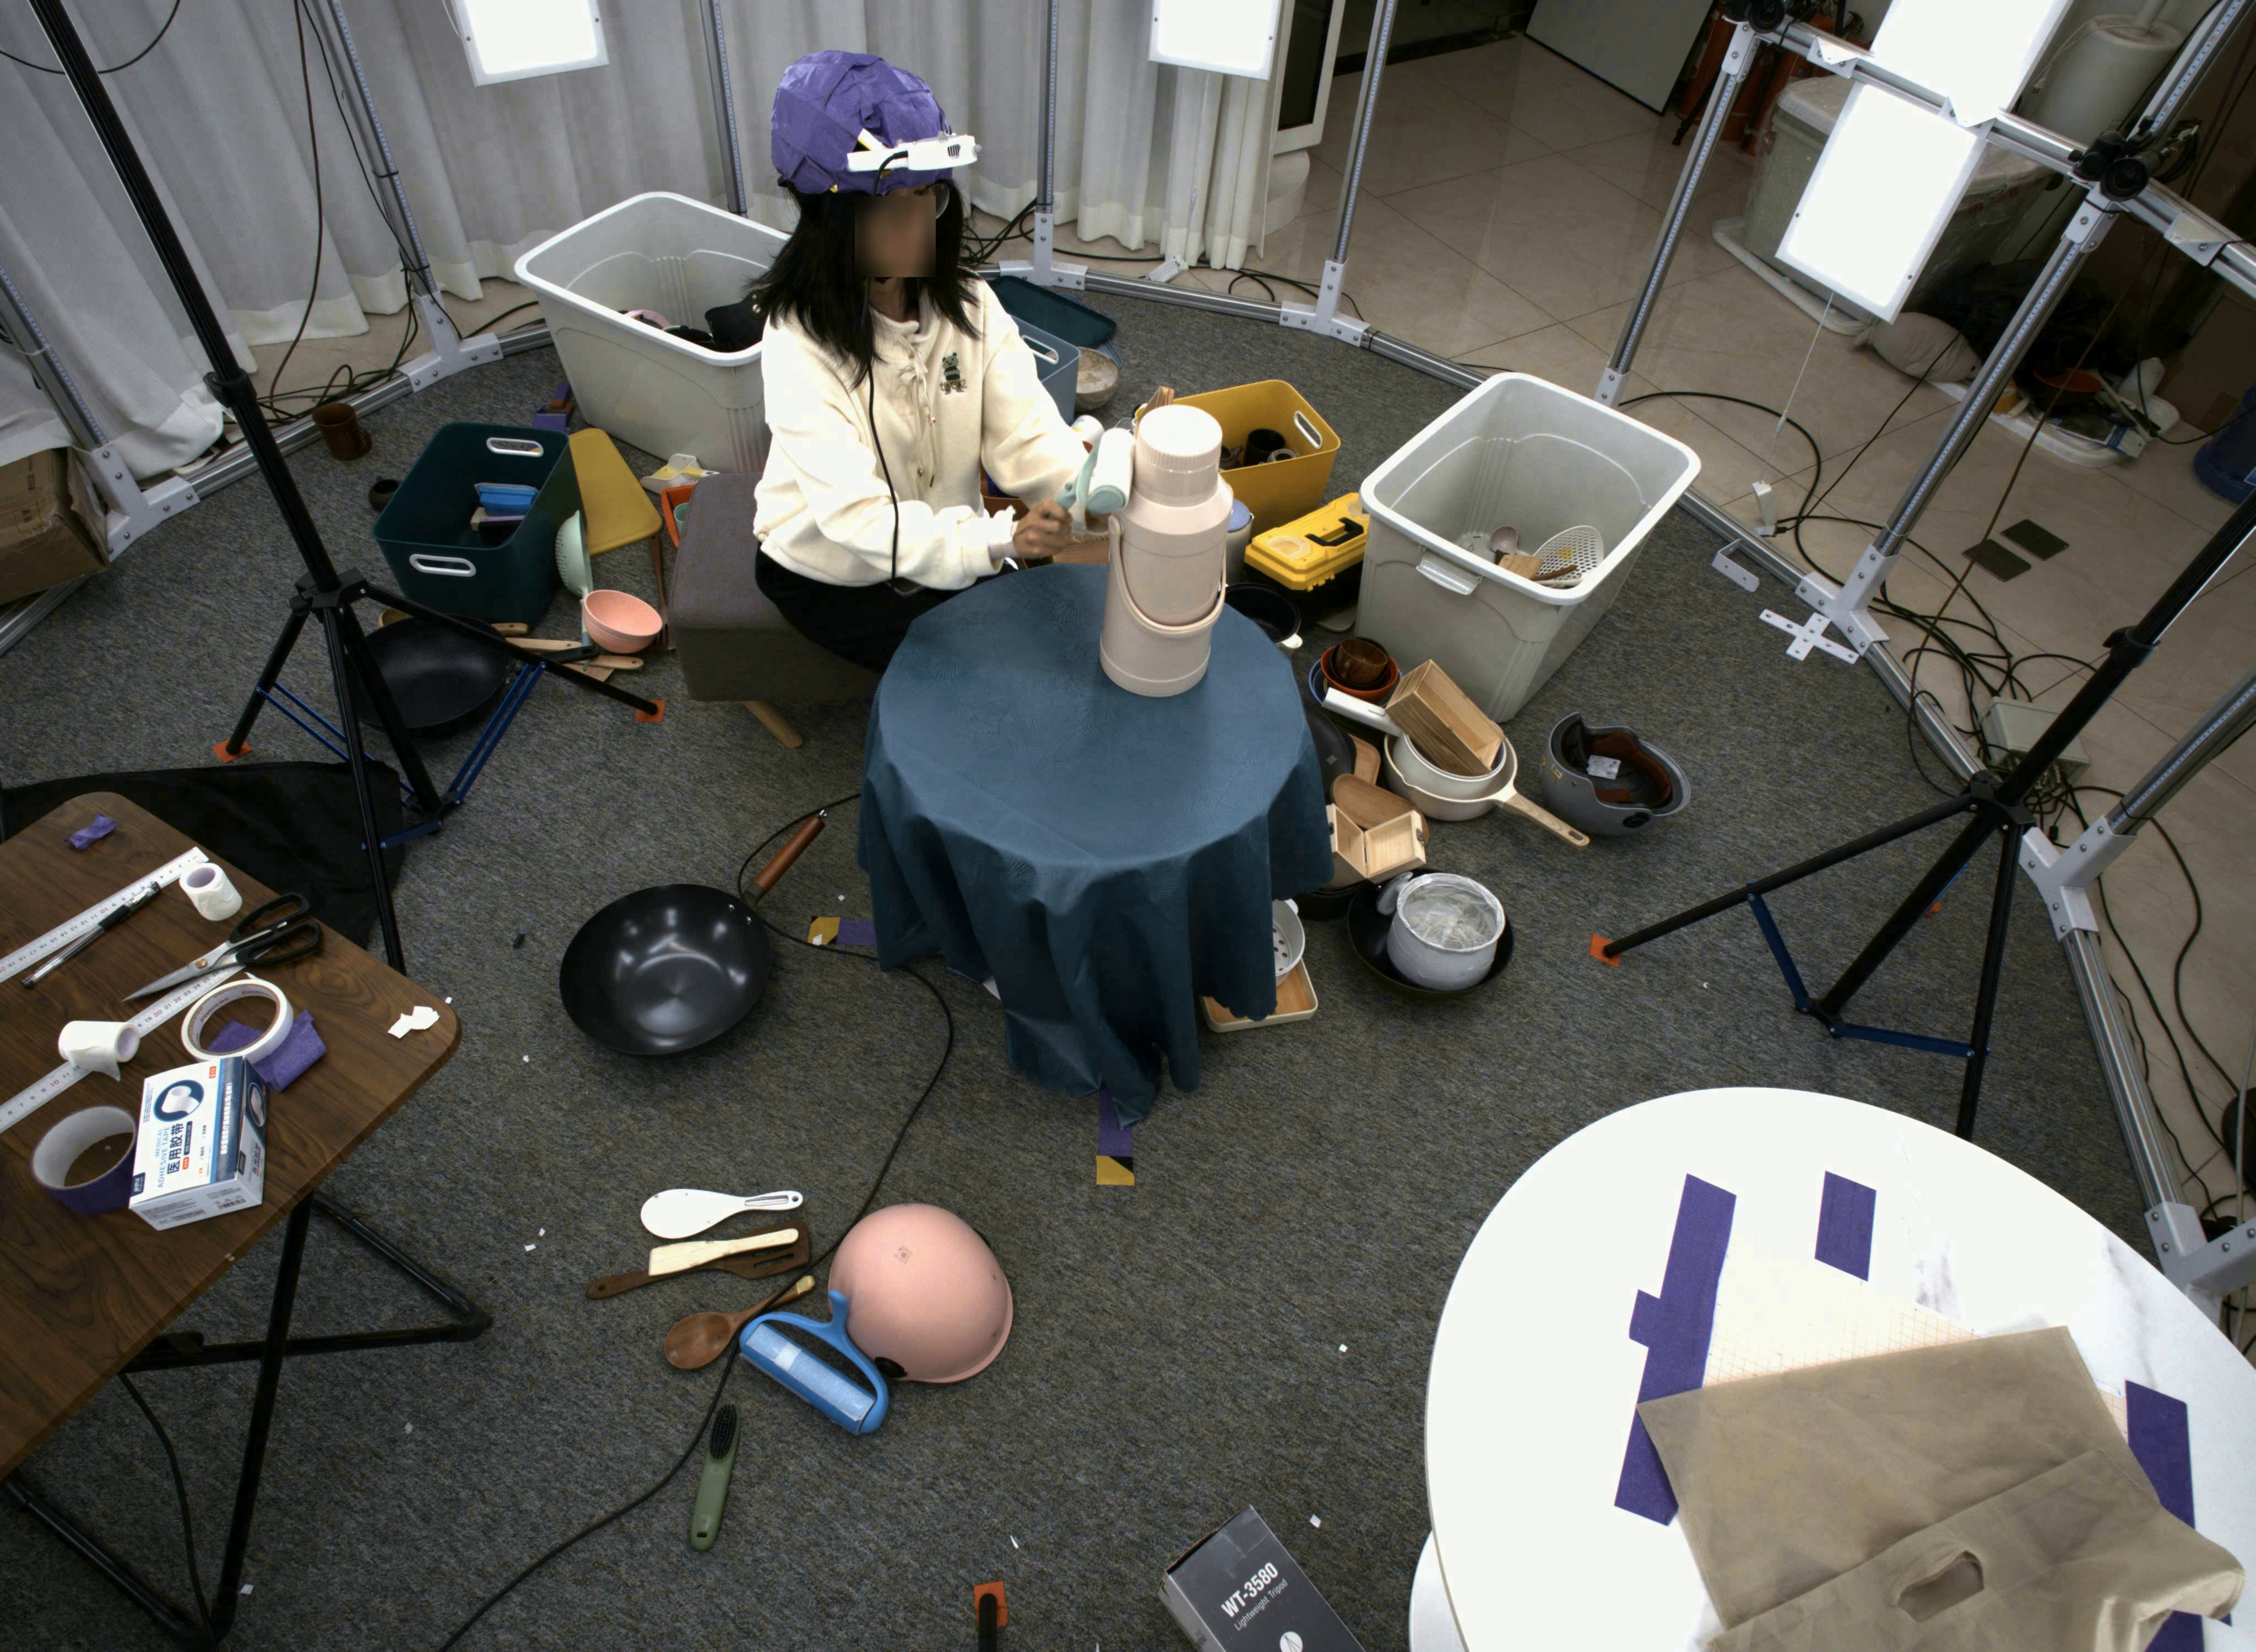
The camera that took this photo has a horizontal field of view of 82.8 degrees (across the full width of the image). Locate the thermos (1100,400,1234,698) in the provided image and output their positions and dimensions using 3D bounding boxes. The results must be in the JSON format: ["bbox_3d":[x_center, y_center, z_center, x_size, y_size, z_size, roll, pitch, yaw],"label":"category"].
[{"bbox_3d":[0.046,-0.377,1.741,0.176,0.396,0.211,-20,55,-19],"label":"thermos"}]

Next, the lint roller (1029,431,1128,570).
[{"bbox_3d":[-0.077,-0.413,1.675,0.048,0.195,0.119,26,37,-33],"label":"lint roller"}]
